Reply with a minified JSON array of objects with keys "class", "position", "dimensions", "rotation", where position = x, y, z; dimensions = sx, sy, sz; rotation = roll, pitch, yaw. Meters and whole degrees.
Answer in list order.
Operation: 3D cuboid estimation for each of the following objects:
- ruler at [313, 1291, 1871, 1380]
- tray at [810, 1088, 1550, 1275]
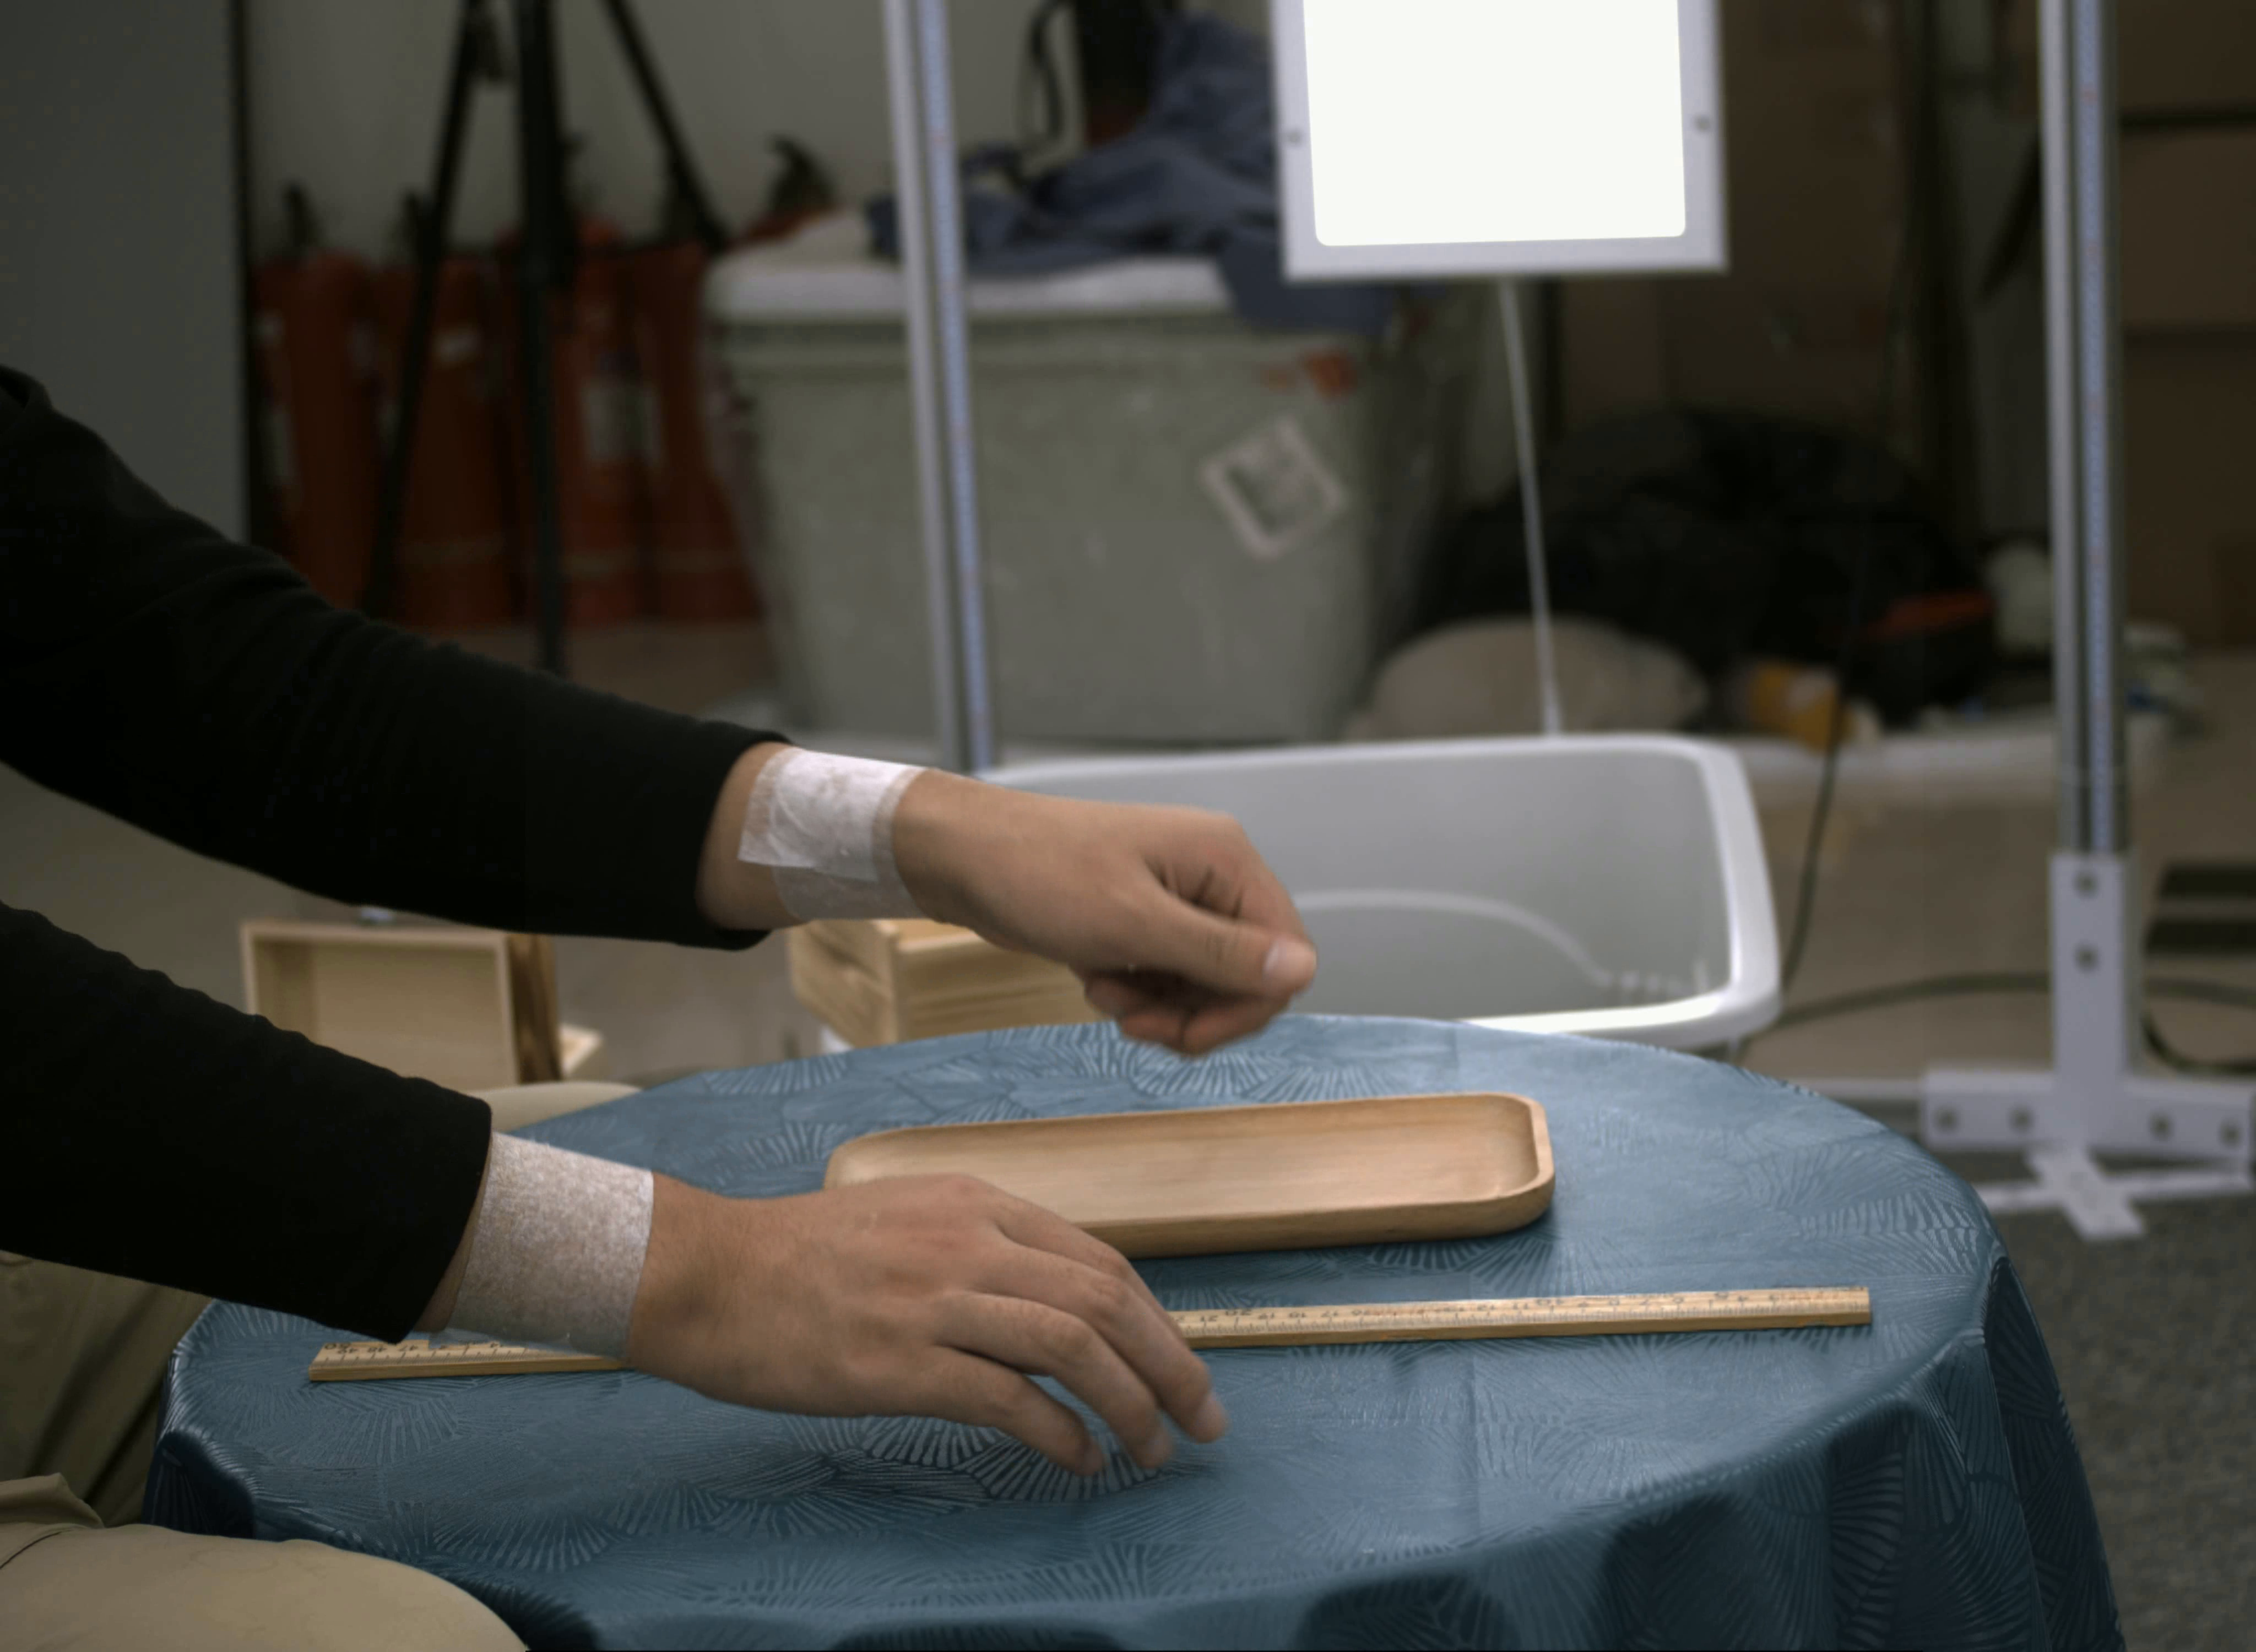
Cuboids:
[{"class":"ruler","position":[-0.014,0.162,1.751],"dimensions":[0.503,0.006,0.026],"rotation":[-3,12,10]},{"class":"tray","position":[0.019,0.121,1.880],"dimensions":[0.251,0.023,0.130],"rotation":[-5,12,6]}]
